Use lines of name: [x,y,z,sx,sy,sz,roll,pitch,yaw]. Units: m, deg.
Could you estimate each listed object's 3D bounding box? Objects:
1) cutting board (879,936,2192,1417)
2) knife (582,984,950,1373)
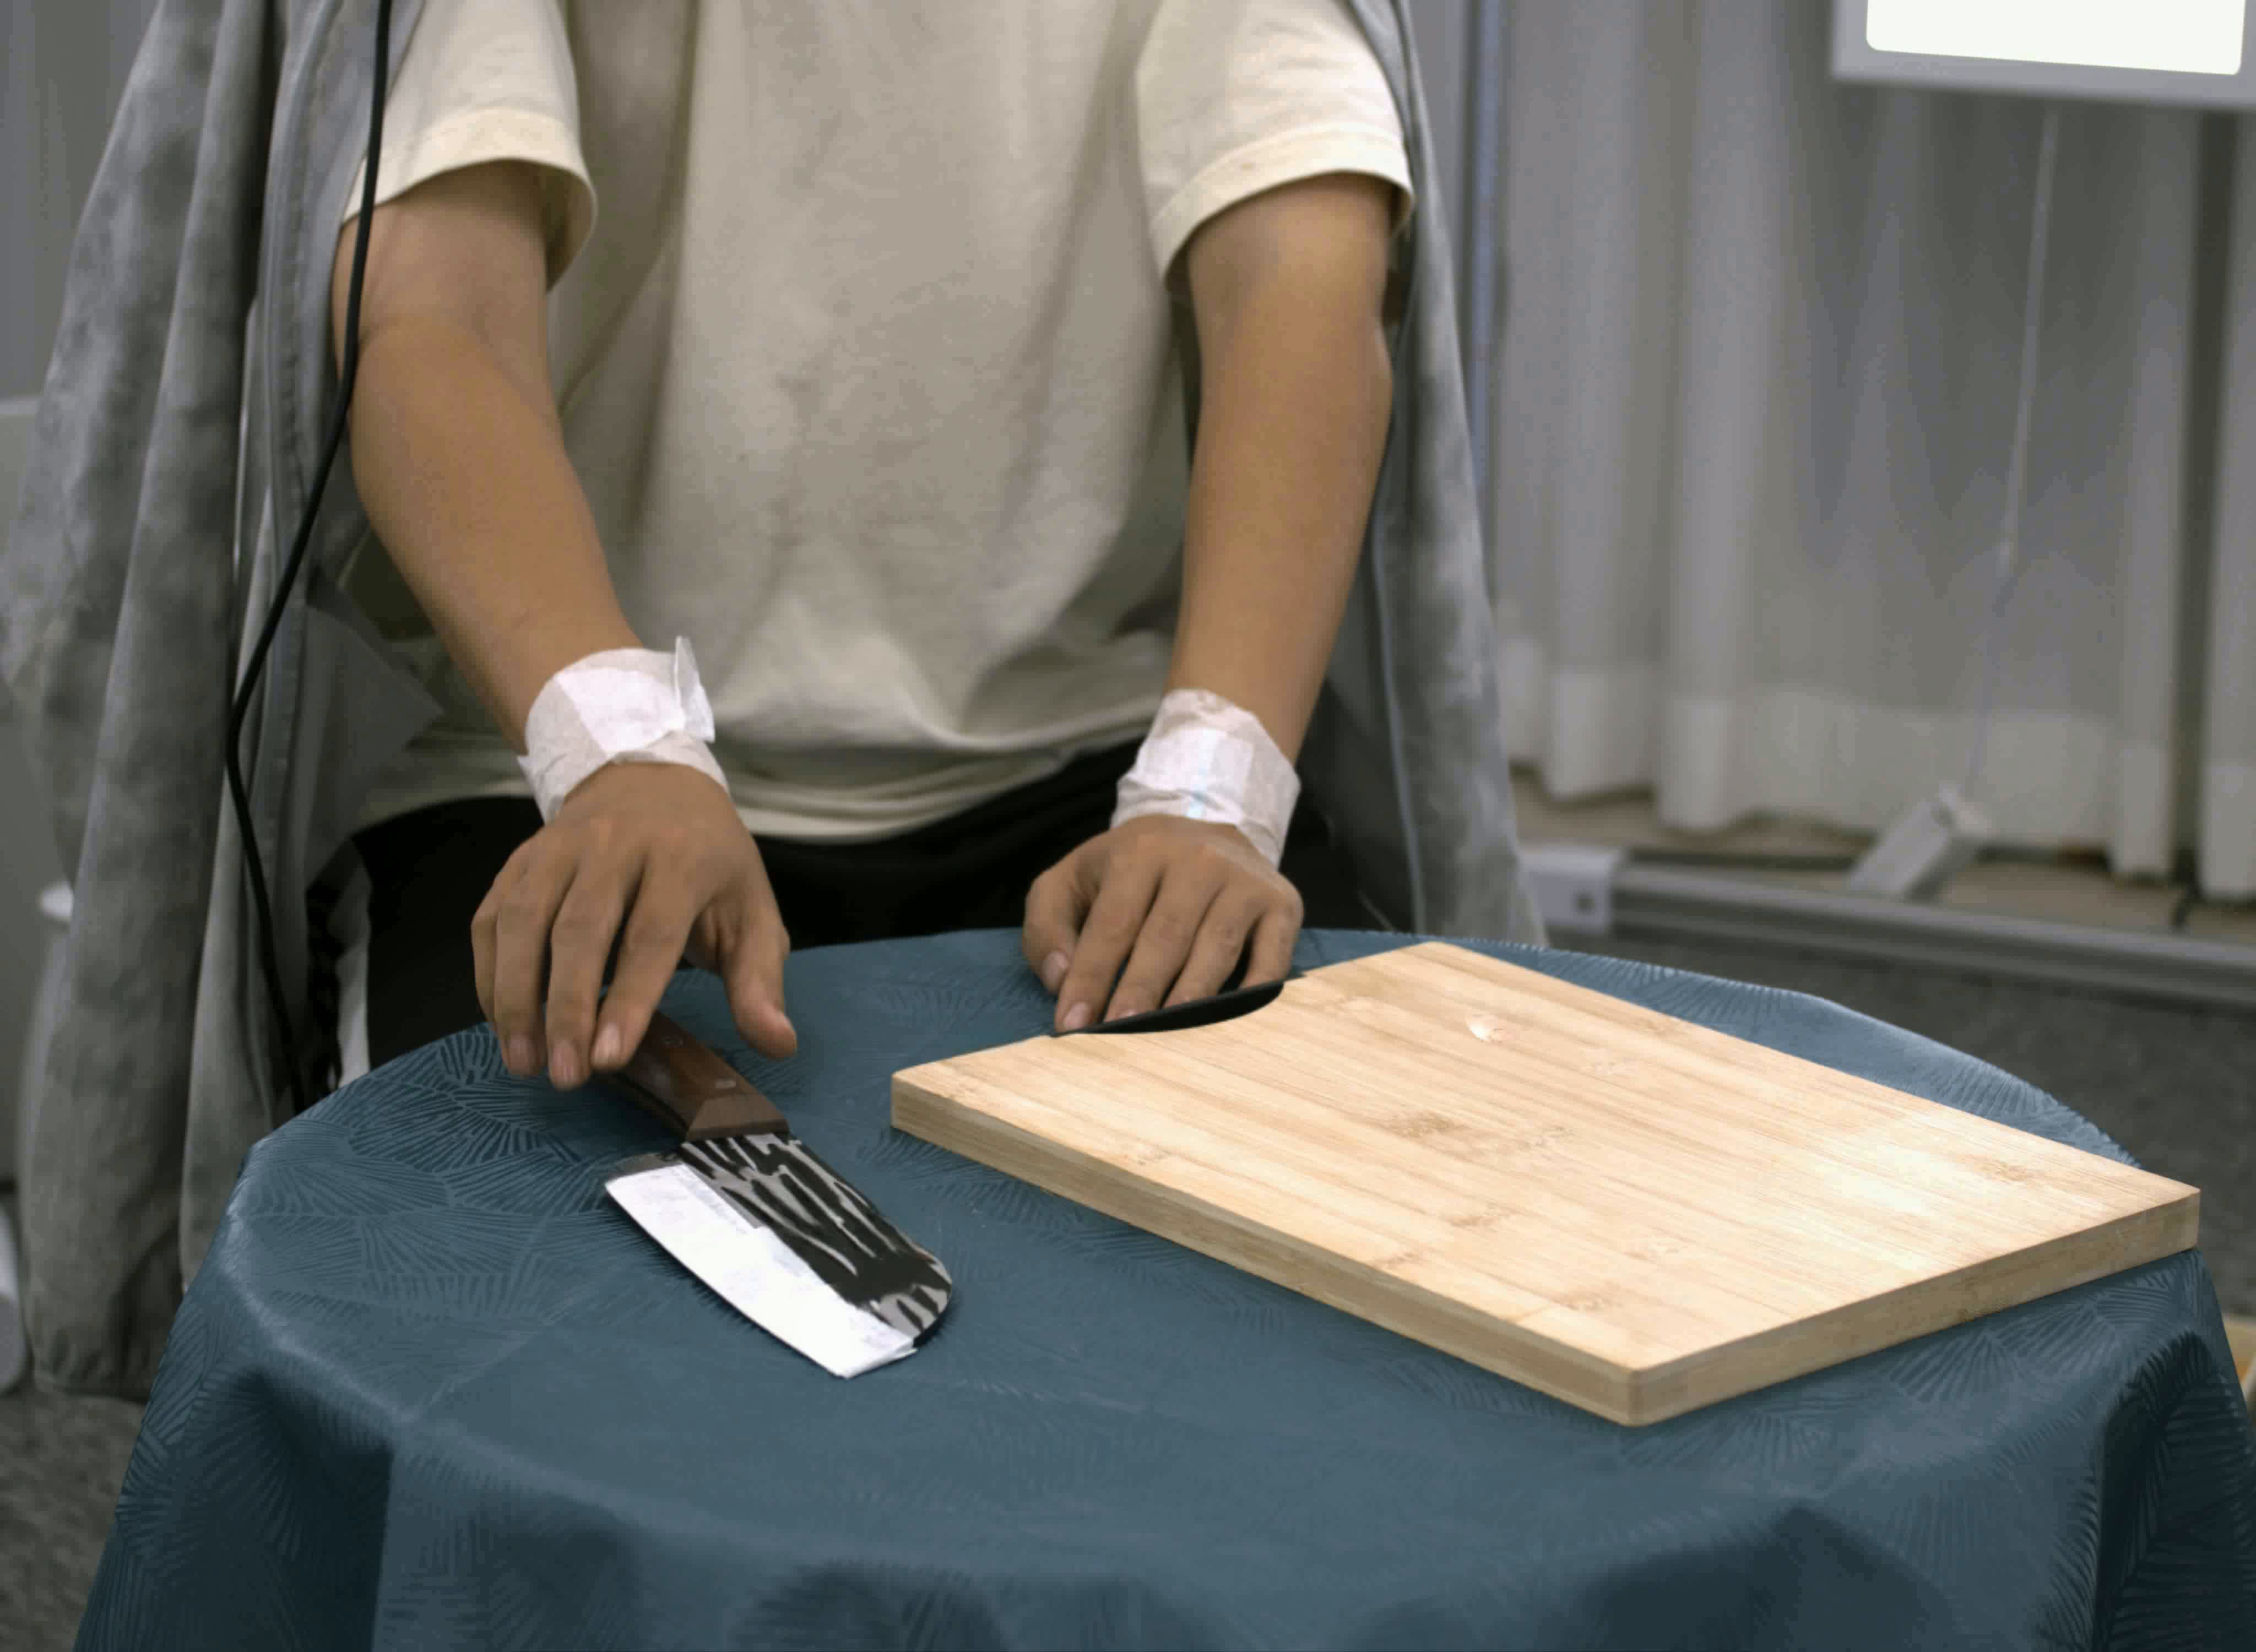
cutting board: [0.120,0.102,1.638,0.252,0.024,0.344,-12,20,-40]
knife: [-0.123,0.107,1.606,0.068,0.024,0.296,-9,21,-24]
